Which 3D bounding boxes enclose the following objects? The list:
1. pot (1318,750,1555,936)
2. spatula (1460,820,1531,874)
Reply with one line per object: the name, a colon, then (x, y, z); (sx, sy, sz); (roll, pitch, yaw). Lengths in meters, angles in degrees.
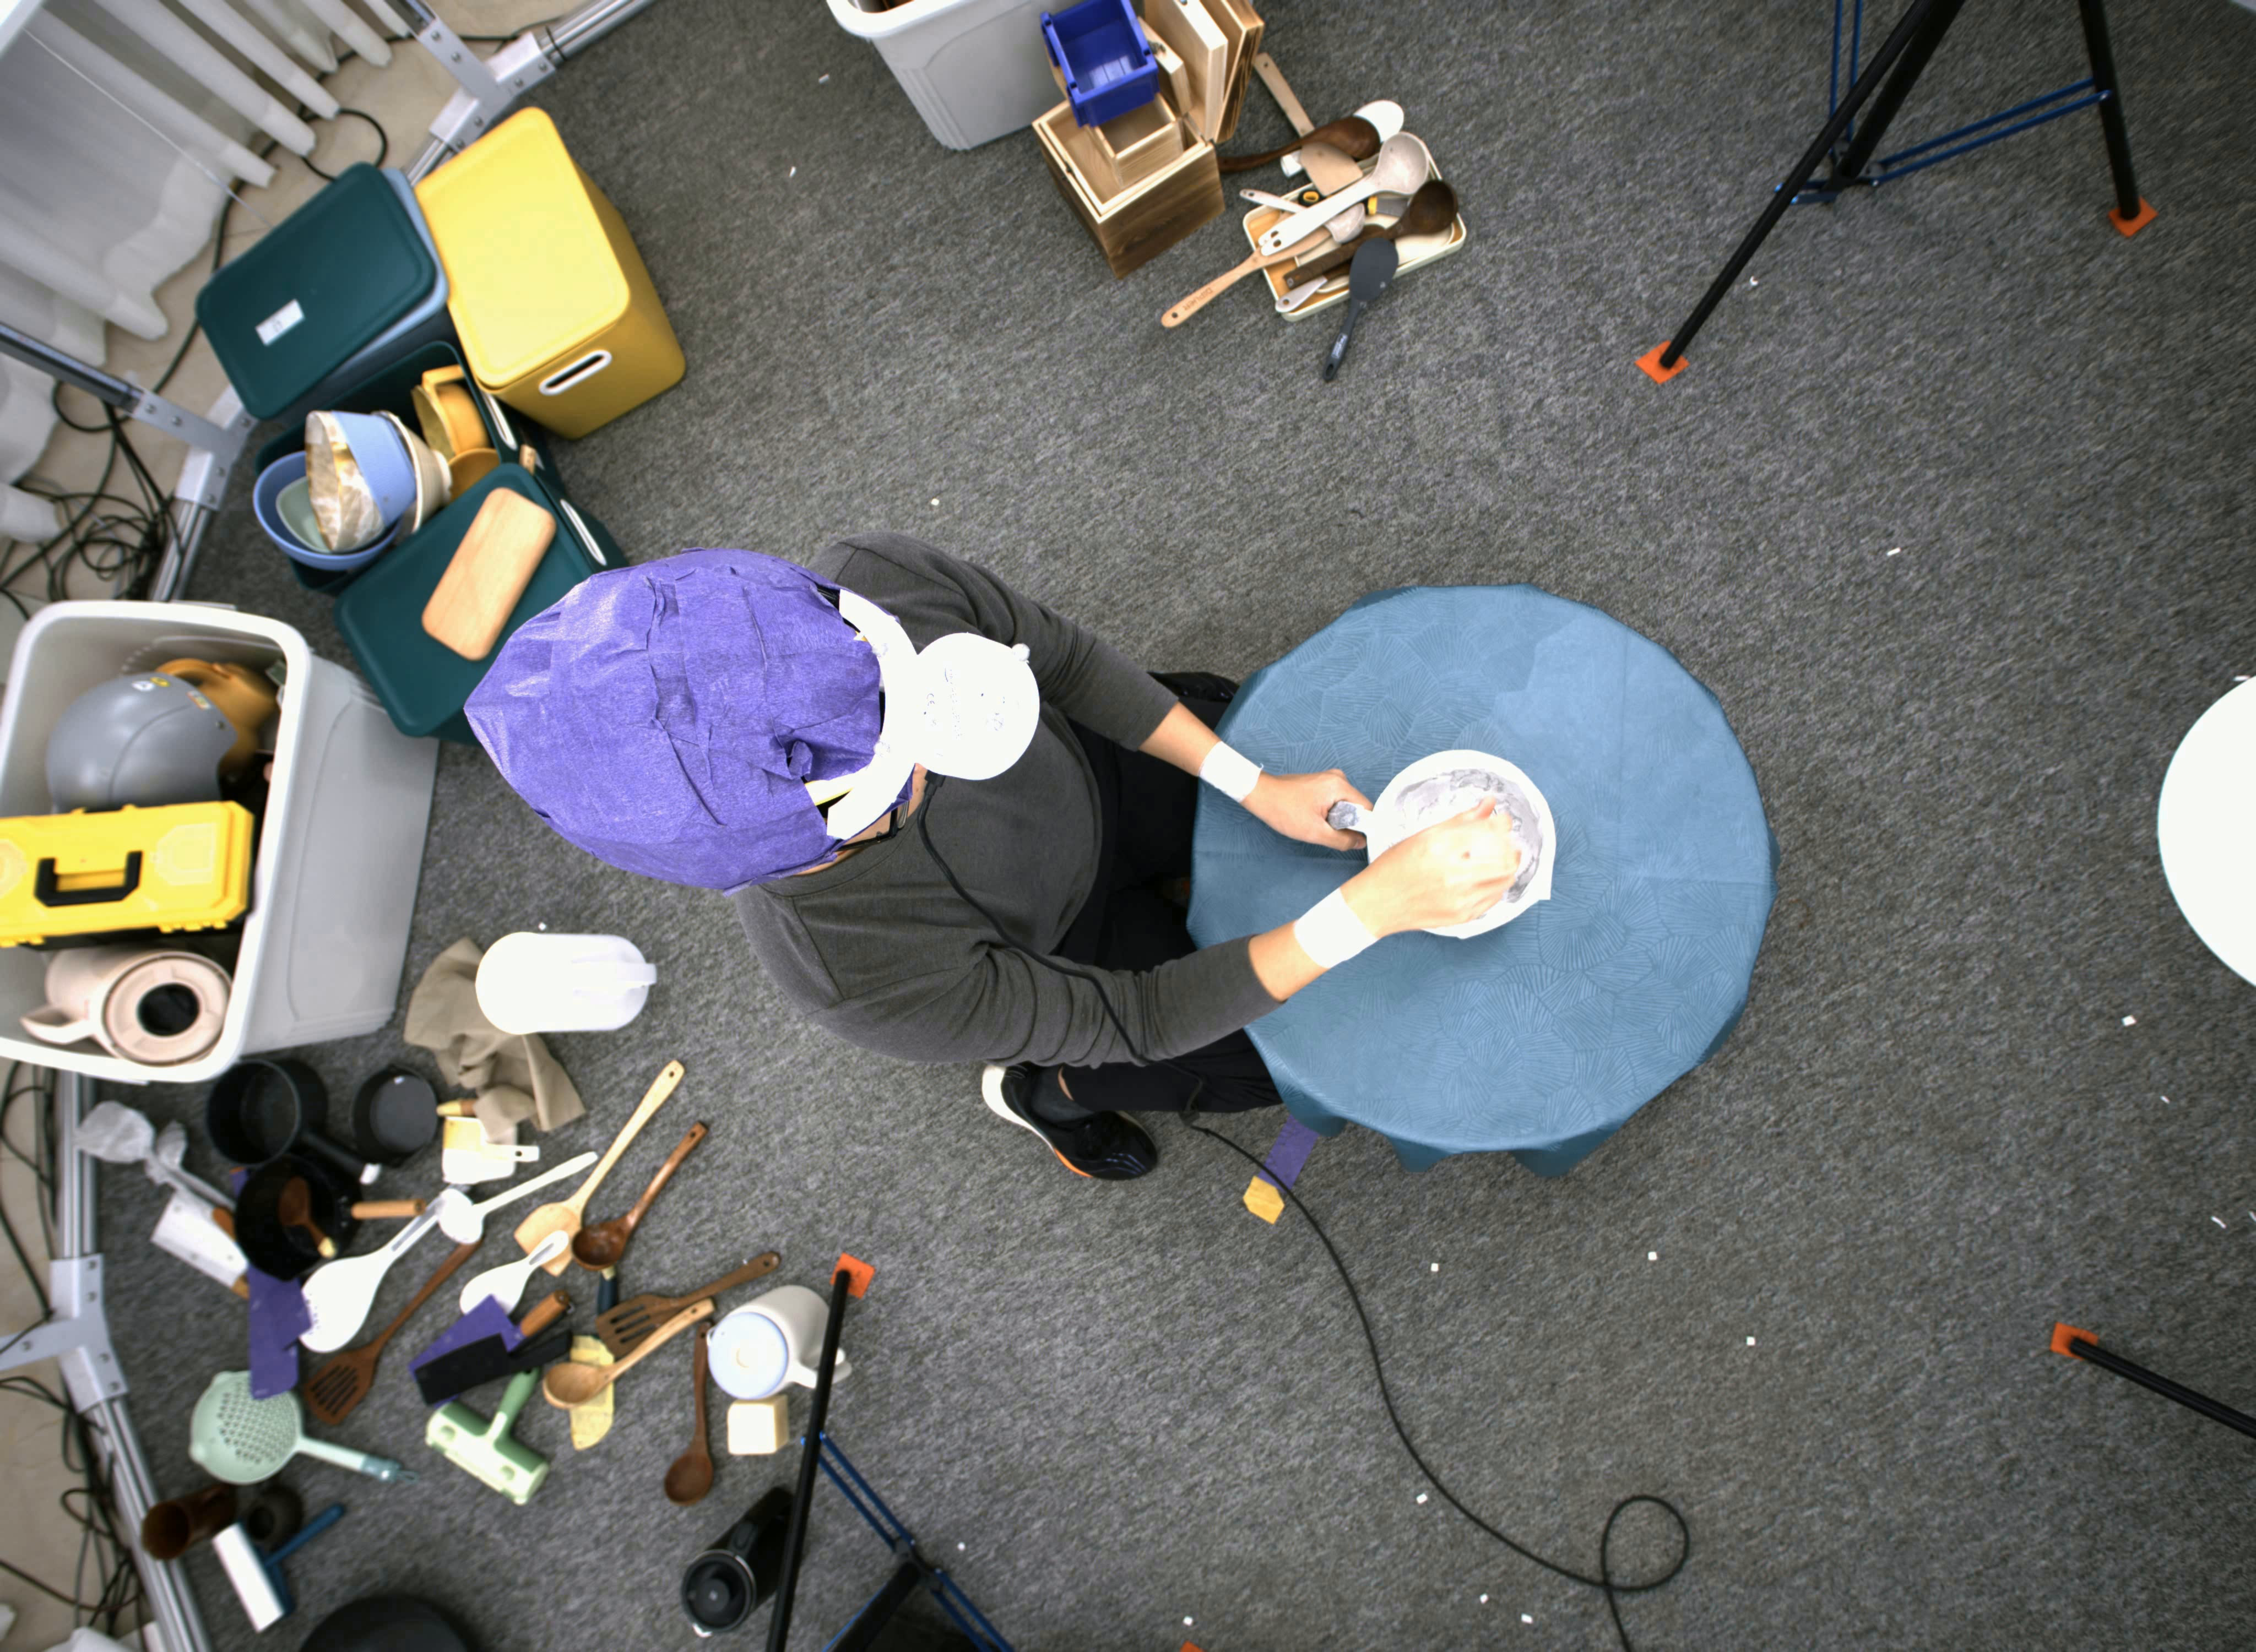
pot: (0.304, 0.013, 1.388); (0.234, 0.137, 0.178); (13, 88, 11)
spatula: (0.326, 0.023, 1.231); (0.059, 0.287, 0.032); (0, 85, 18)
